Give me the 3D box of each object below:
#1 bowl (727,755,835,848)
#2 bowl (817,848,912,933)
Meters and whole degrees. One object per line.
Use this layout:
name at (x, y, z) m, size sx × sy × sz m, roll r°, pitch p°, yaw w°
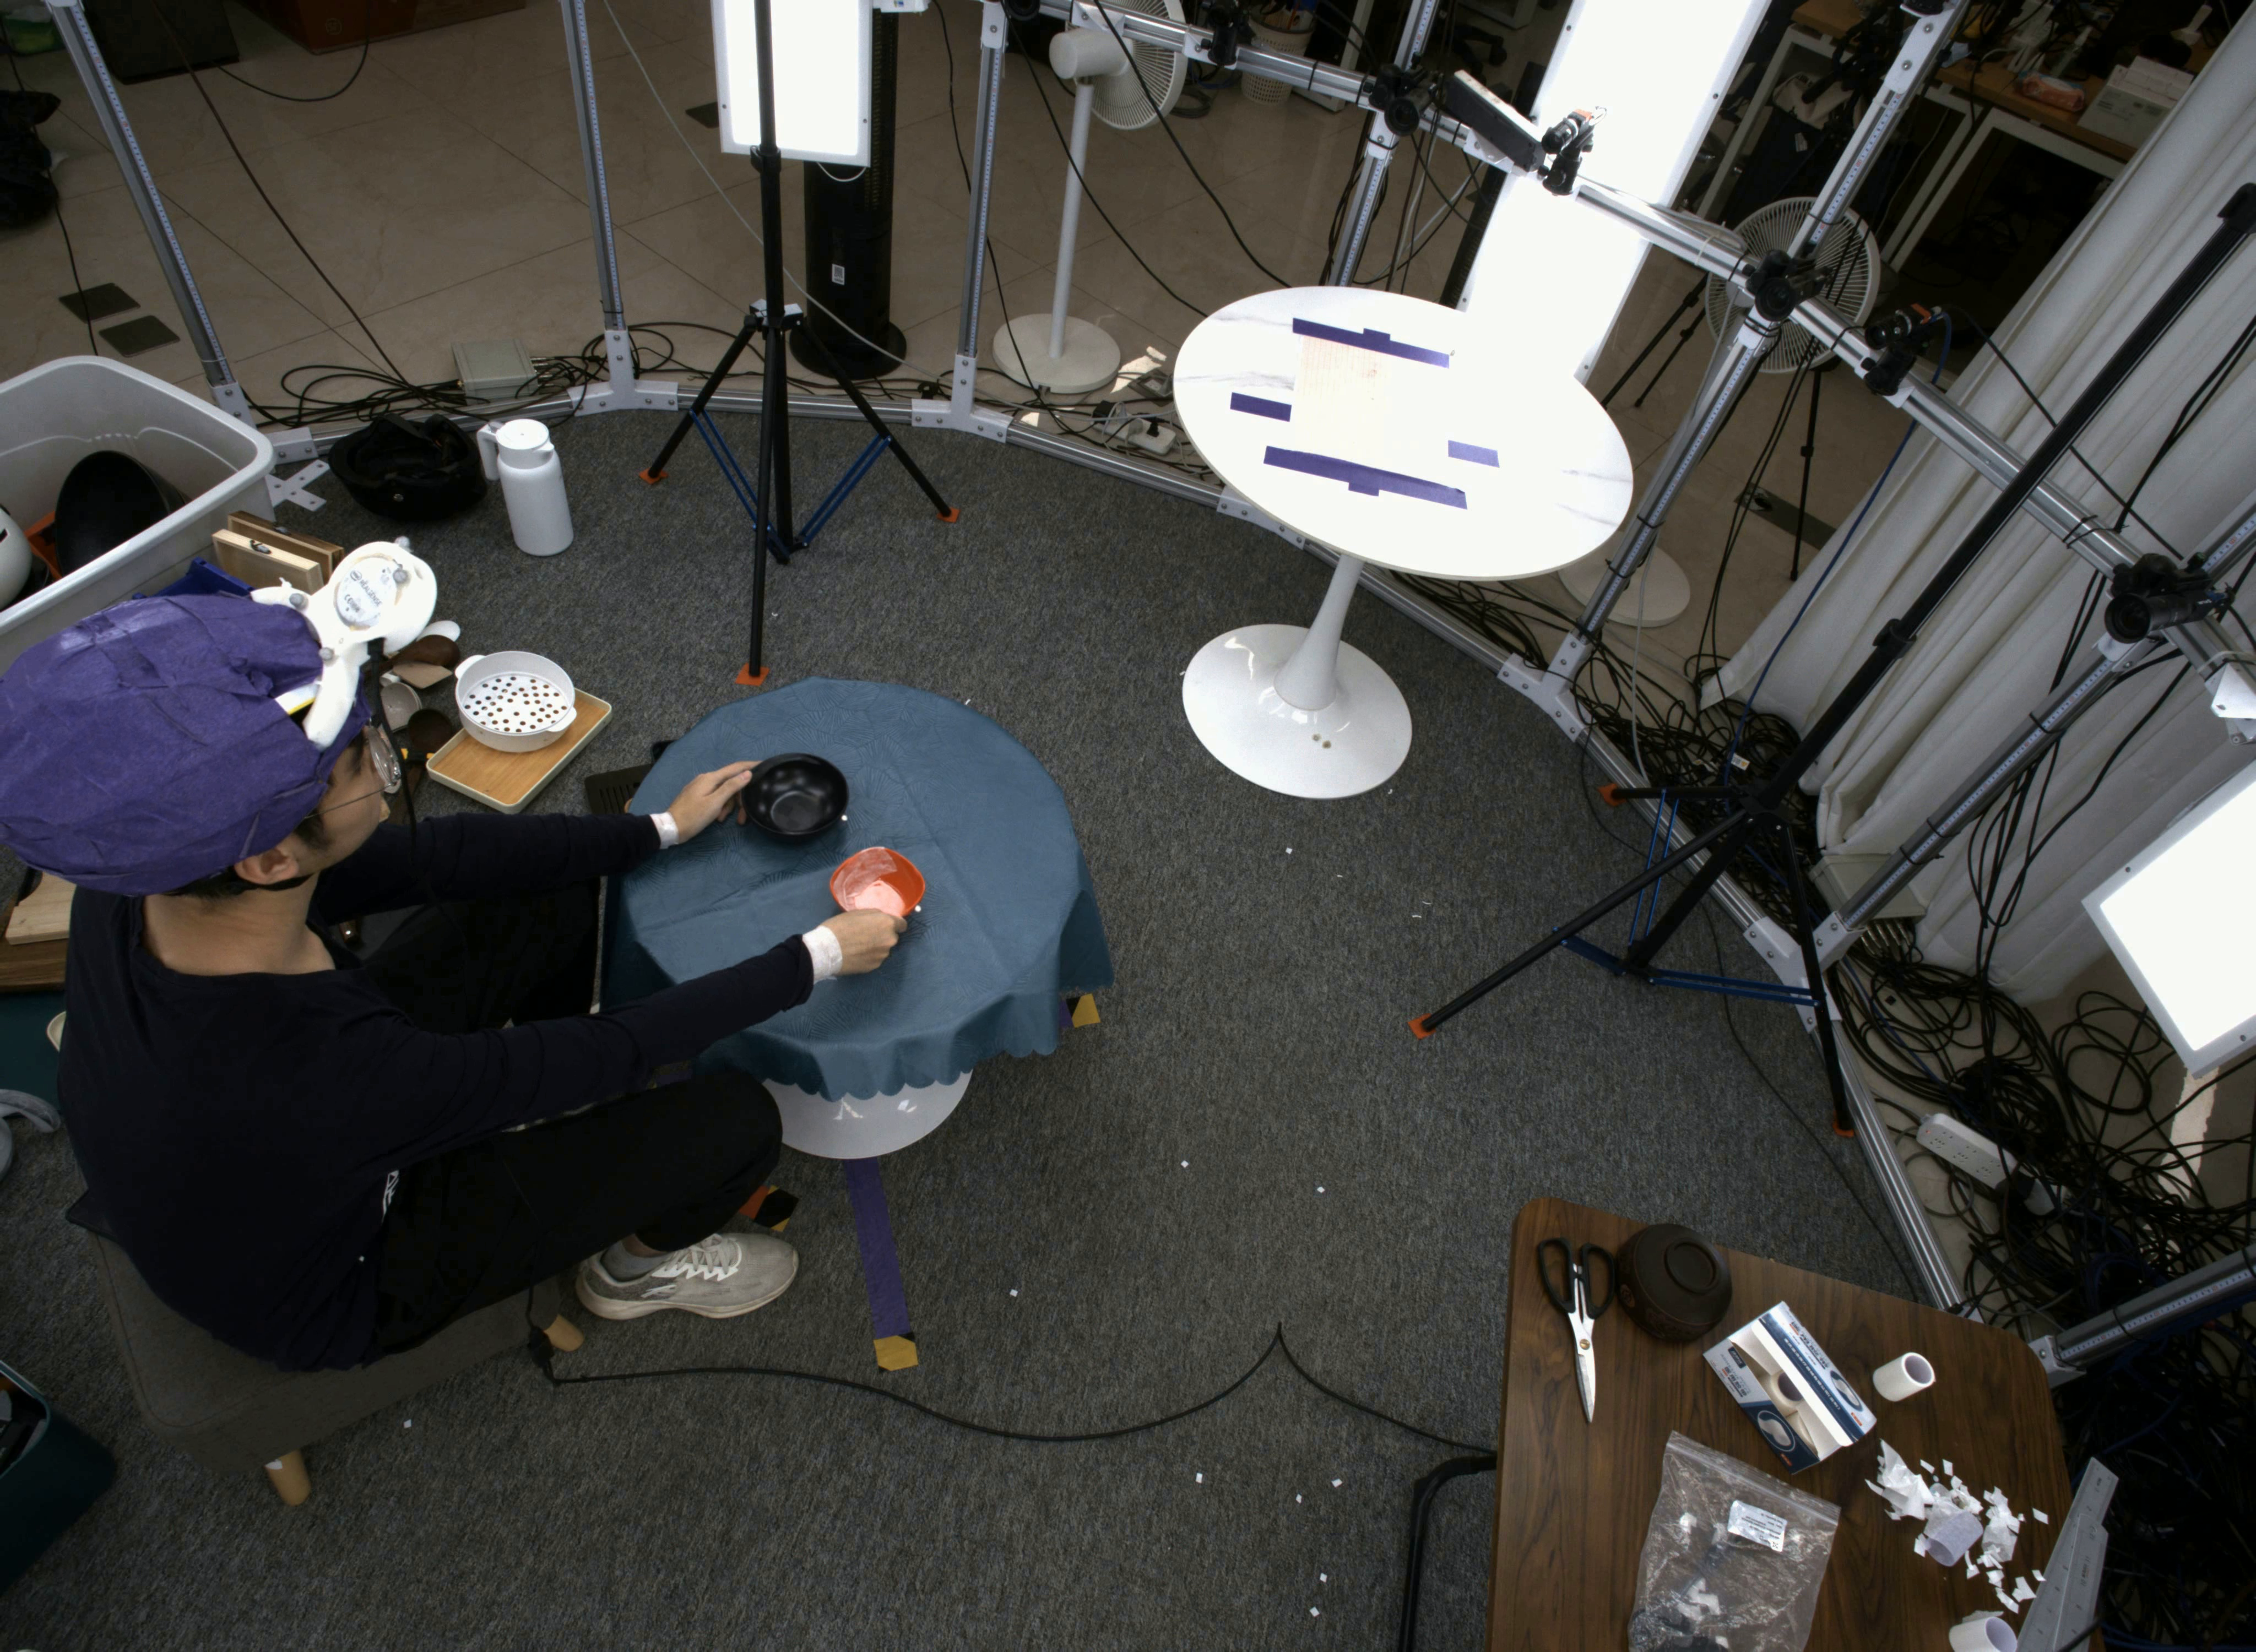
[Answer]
bowl at (-0.458, -0.025, 1.716) m, size 0.139 × 0.051 × 0.138 m, roll 6°, pitch 56°, yaw -7°
bowl at (-0.337, 0.089, 1.657) m, size 0.119 × 0.052 × 0.117 m, roll 9°, pitch 51°, yaw -10°
